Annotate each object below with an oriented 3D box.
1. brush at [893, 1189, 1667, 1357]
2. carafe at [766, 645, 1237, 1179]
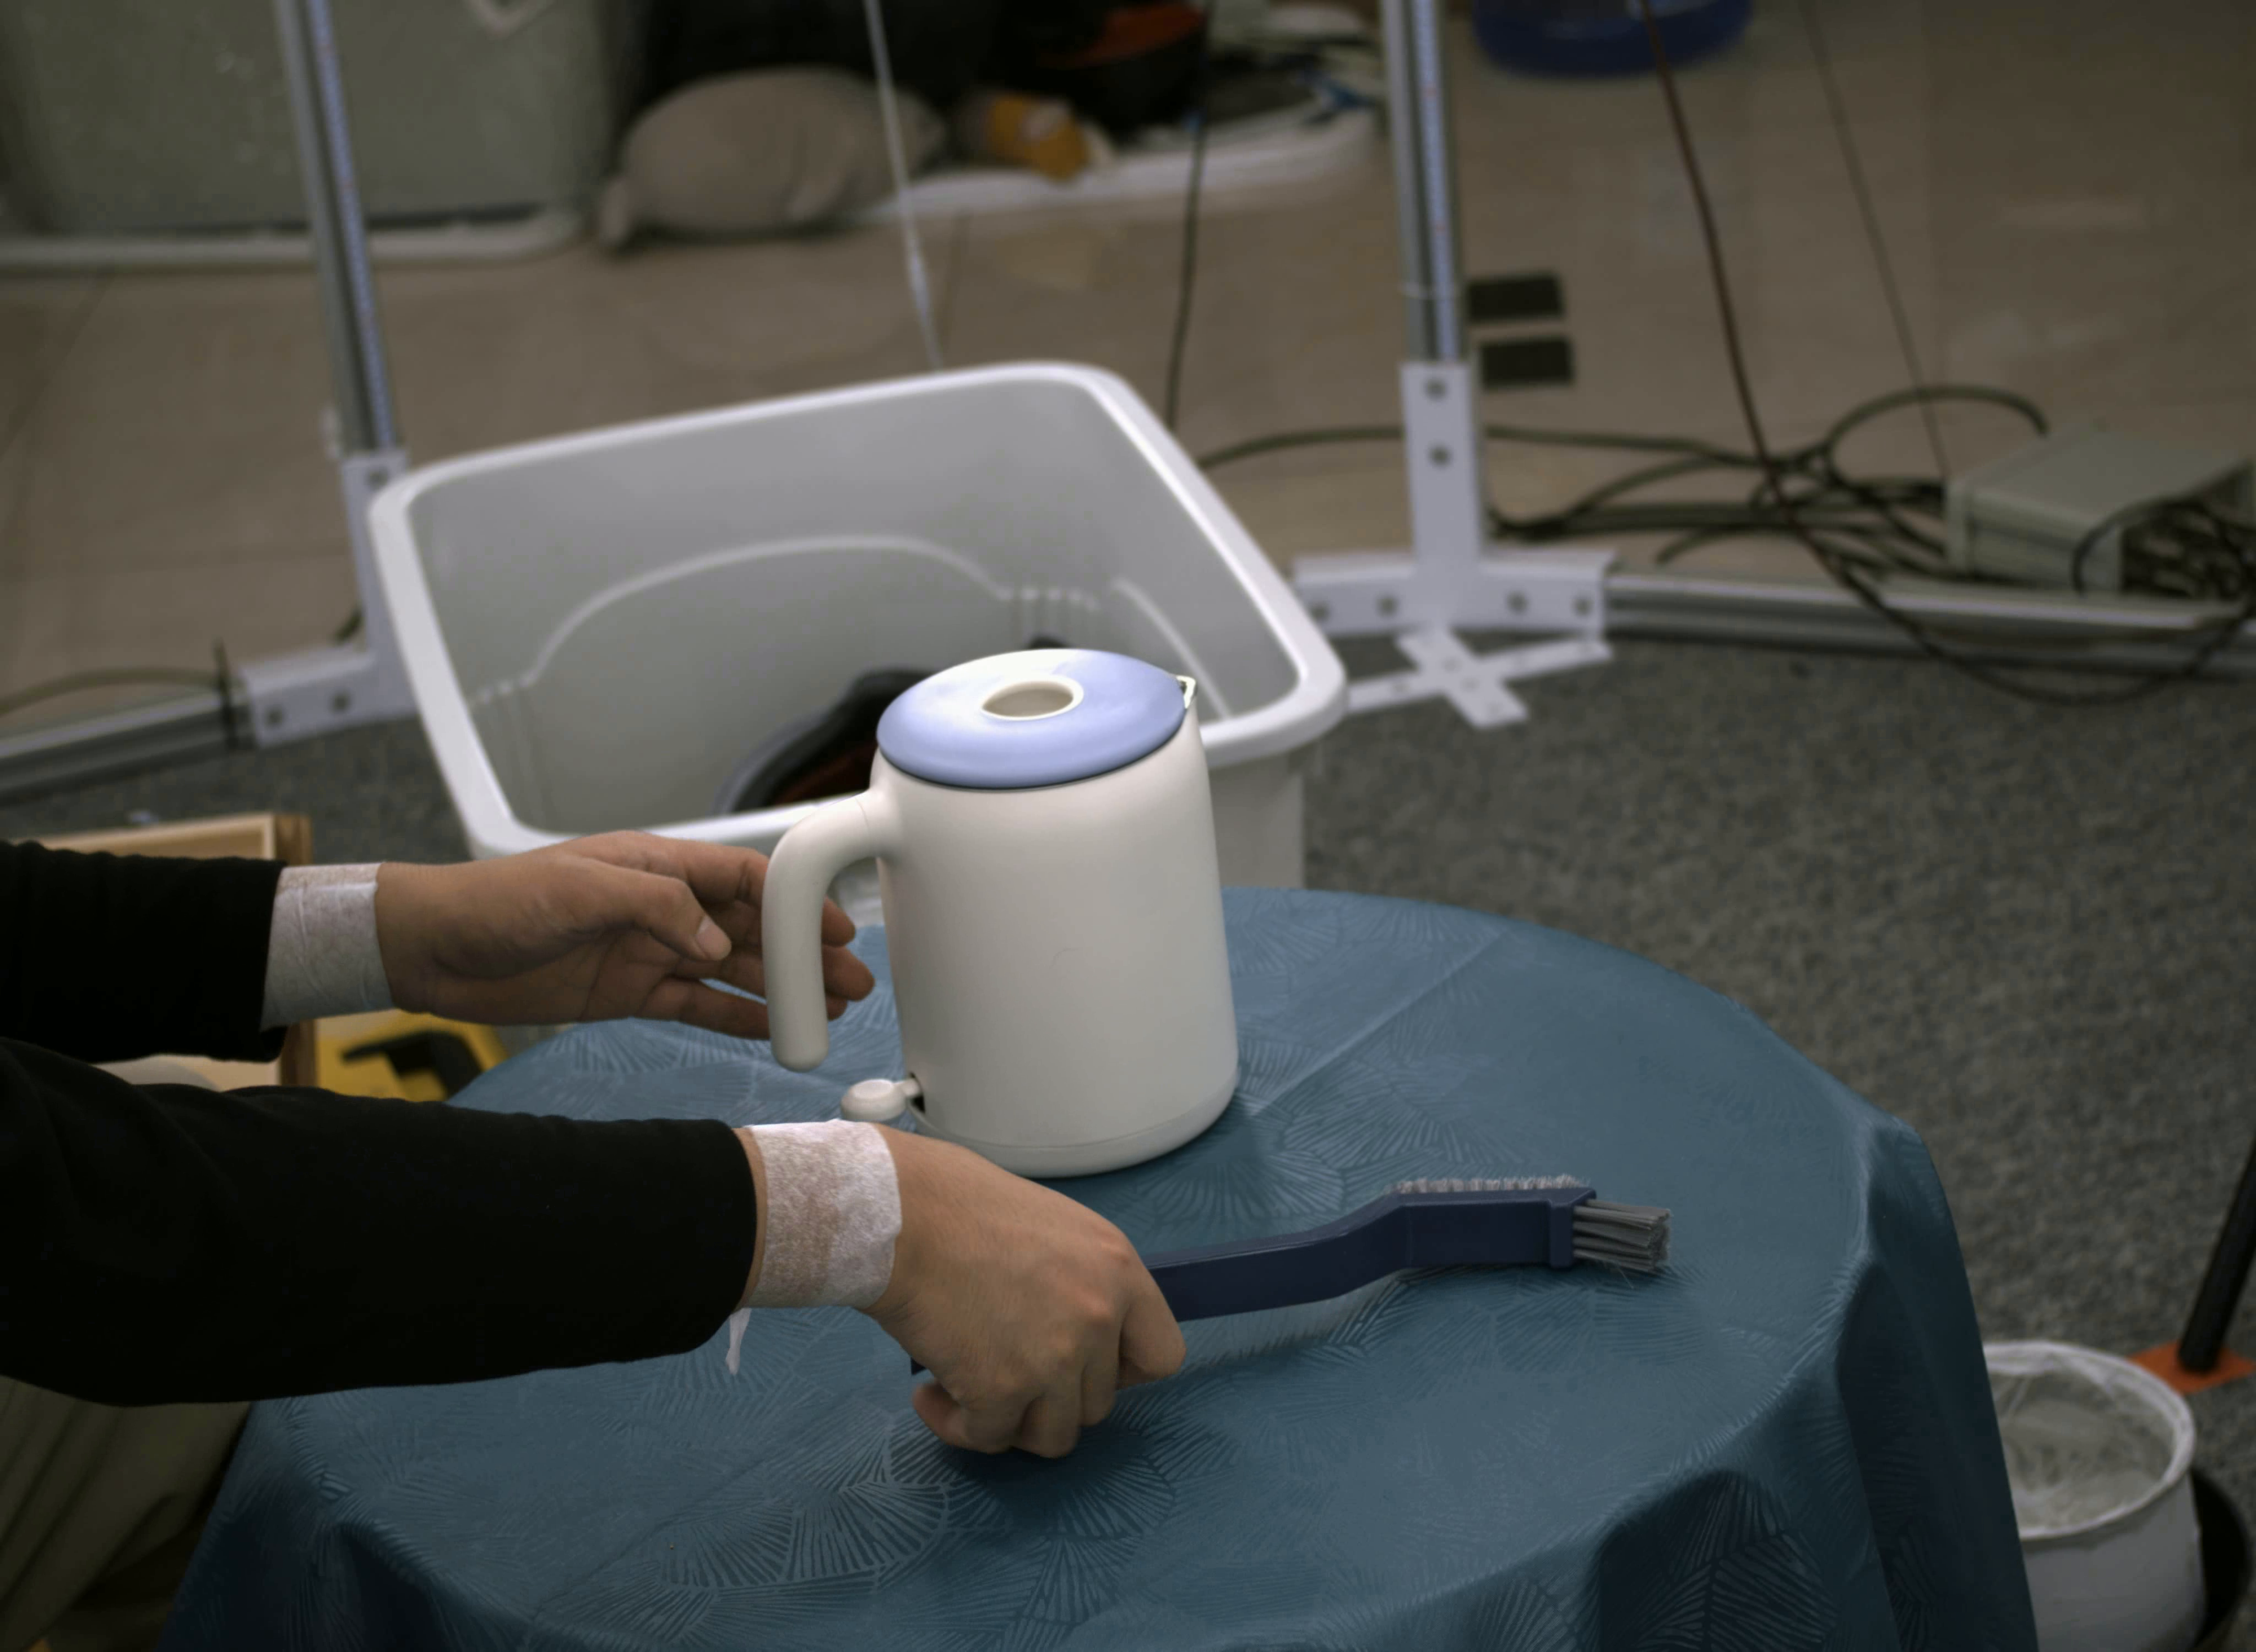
[{"bbox_3d":[0.053,0.161,2.022,0.272,0.034,0.094,-10,24,-24],"label":"brush"},{"bbox_3d":[-0.051,0.039,2.169,0.190,0.185,0.130,-18,27,-20],"label":"carafe"}]
